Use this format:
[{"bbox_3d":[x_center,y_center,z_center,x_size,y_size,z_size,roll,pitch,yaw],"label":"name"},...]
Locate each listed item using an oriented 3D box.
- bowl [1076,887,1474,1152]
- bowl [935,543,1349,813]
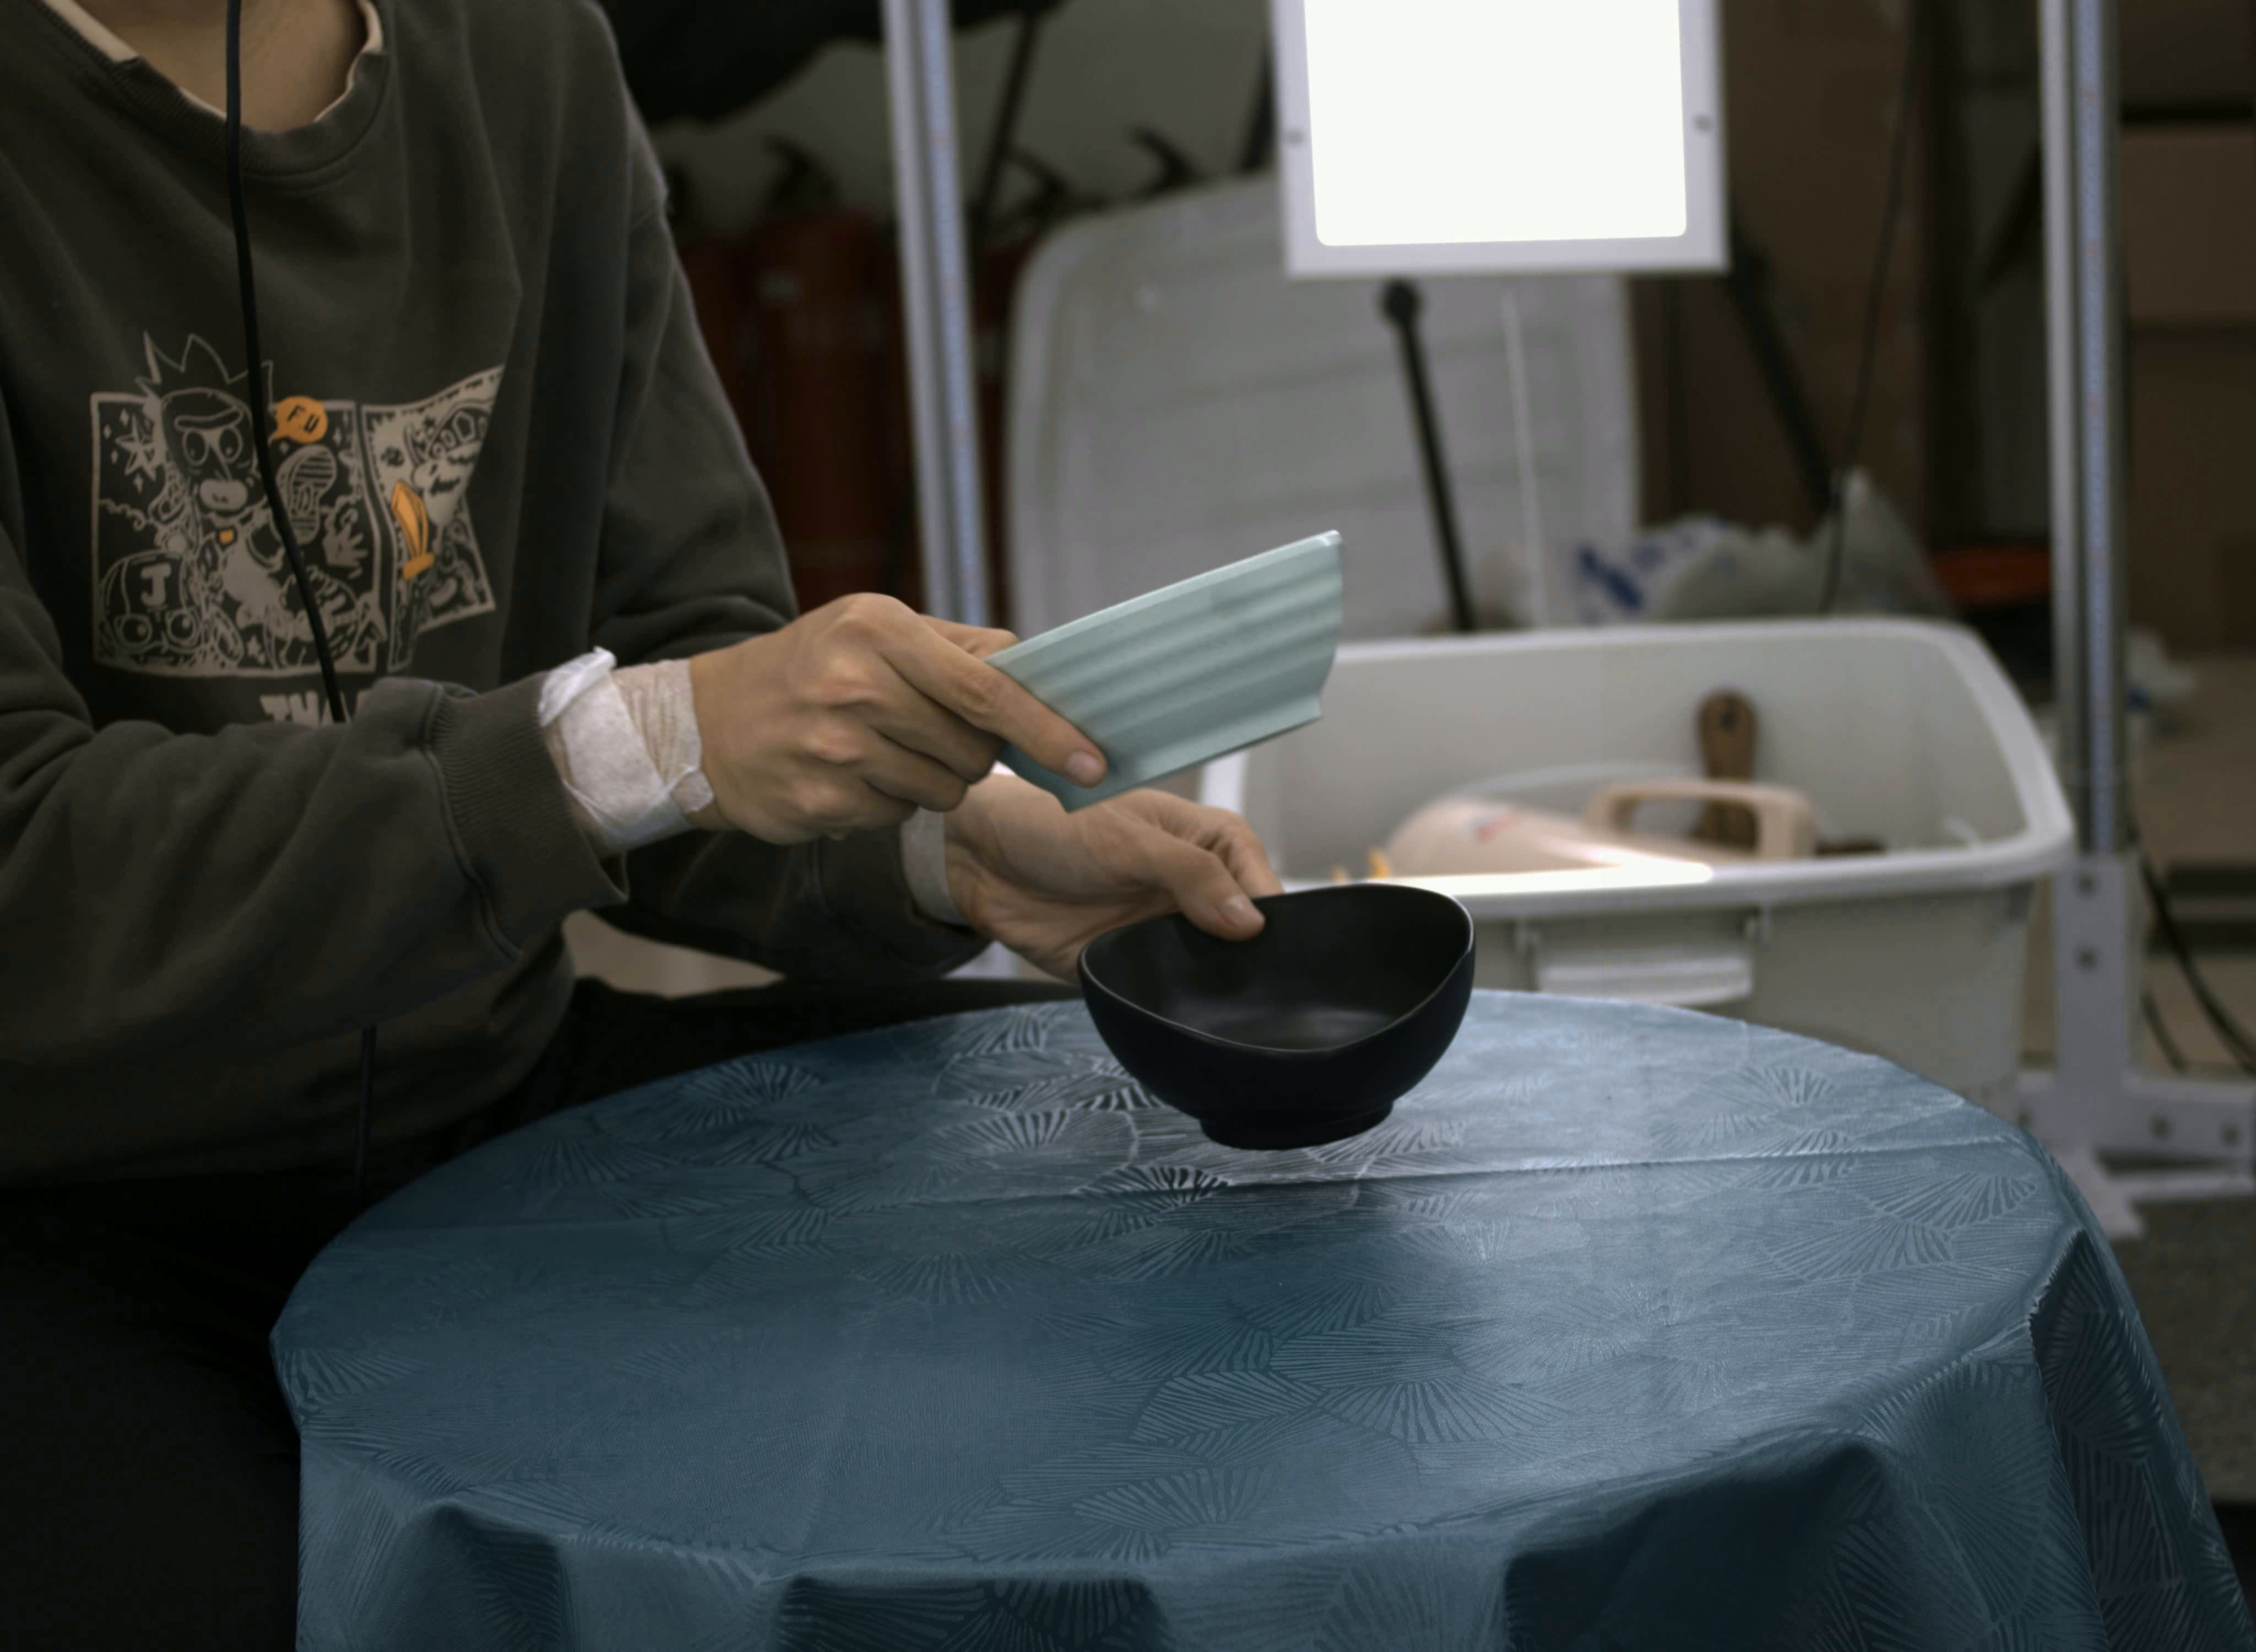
[{"bbox_3d":[0.055,0.071,1.896,0.136,0.067,0.171,-10,16,-7],"label":"bowl"},{"bbox_3d":[0.012,-0.046,1.873,0.151,0.059,0.151,-18,-3,-2],"label":"bowl"}]
